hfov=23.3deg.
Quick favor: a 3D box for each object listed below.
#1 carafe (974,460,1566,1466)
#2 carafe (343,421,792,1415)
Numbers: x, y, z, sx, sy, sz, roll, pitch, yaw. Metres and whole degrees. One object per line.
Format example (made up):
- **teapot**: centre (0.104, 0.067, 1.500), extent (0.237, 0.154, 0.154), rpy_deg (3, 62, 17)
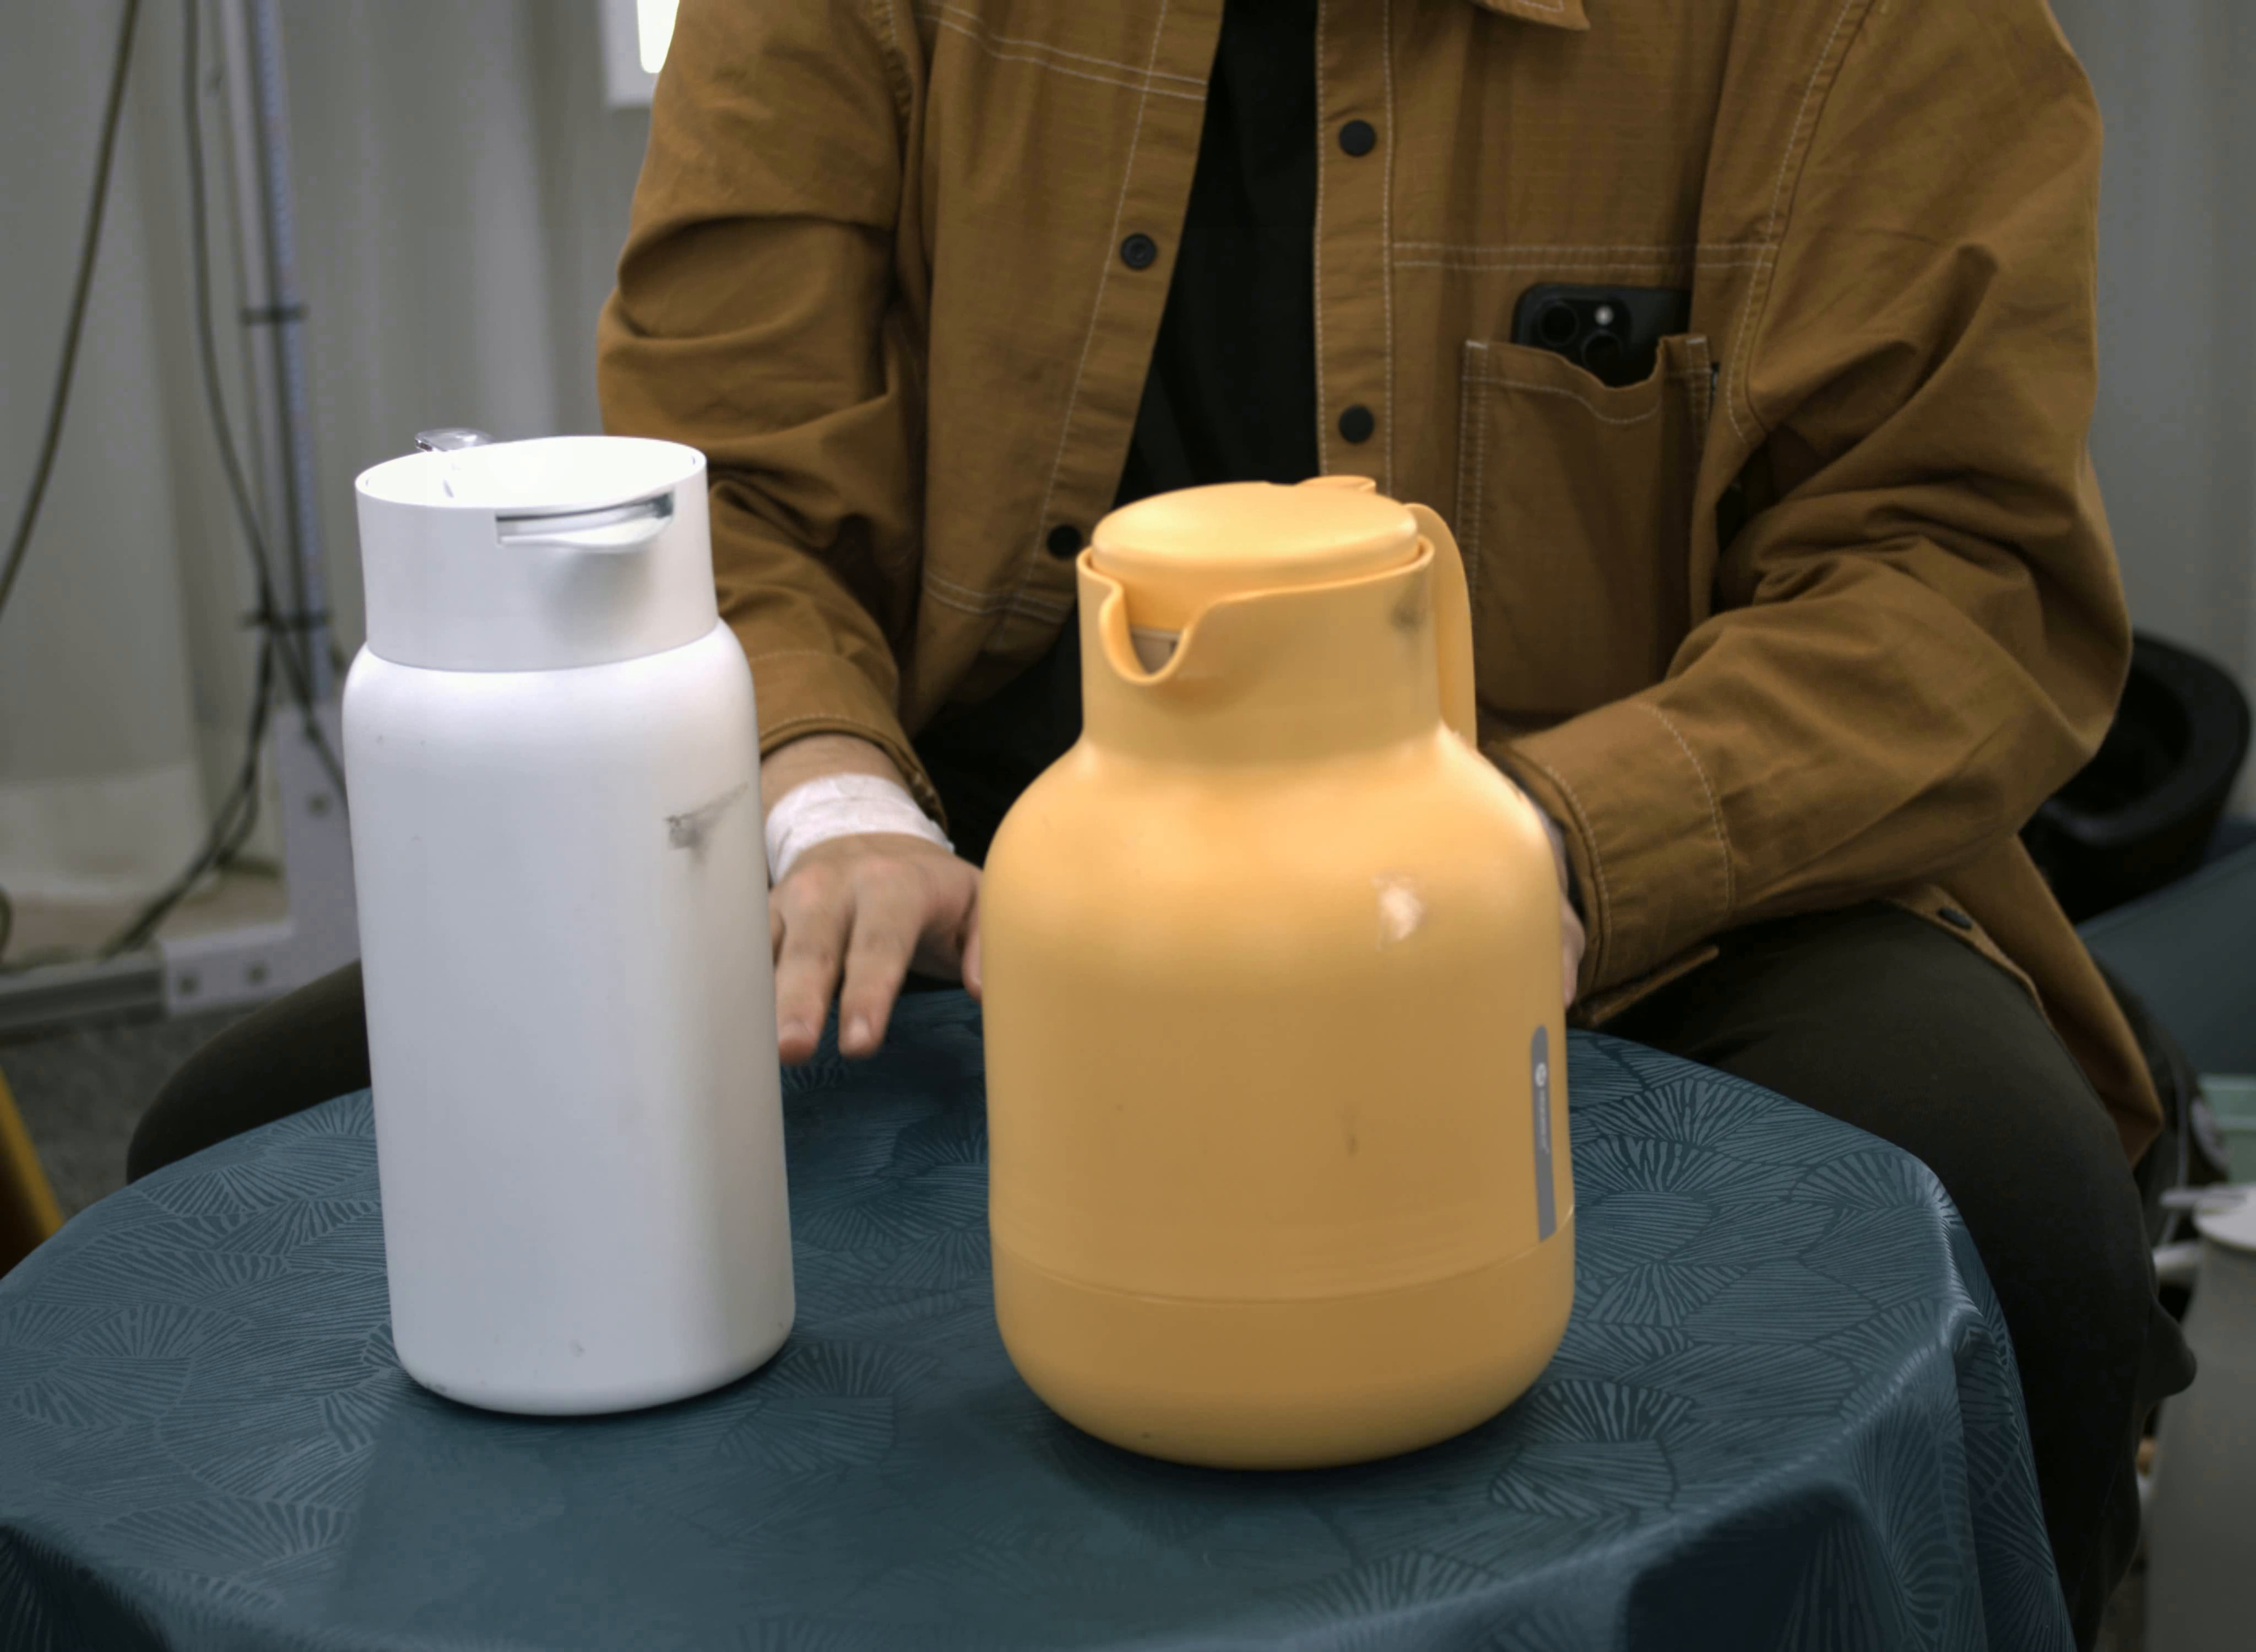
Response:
- **carafe**: centre (0.048, 0.029, 1.517), extent (0.164, 0.259, 0.203), rpy_deg (8, 19, 27)
- **carafe**: centre (-0.170, 0.023, 1.577), extent (0.123, 0.268, 0.174), rpy_deg (-12, 16, -26)
